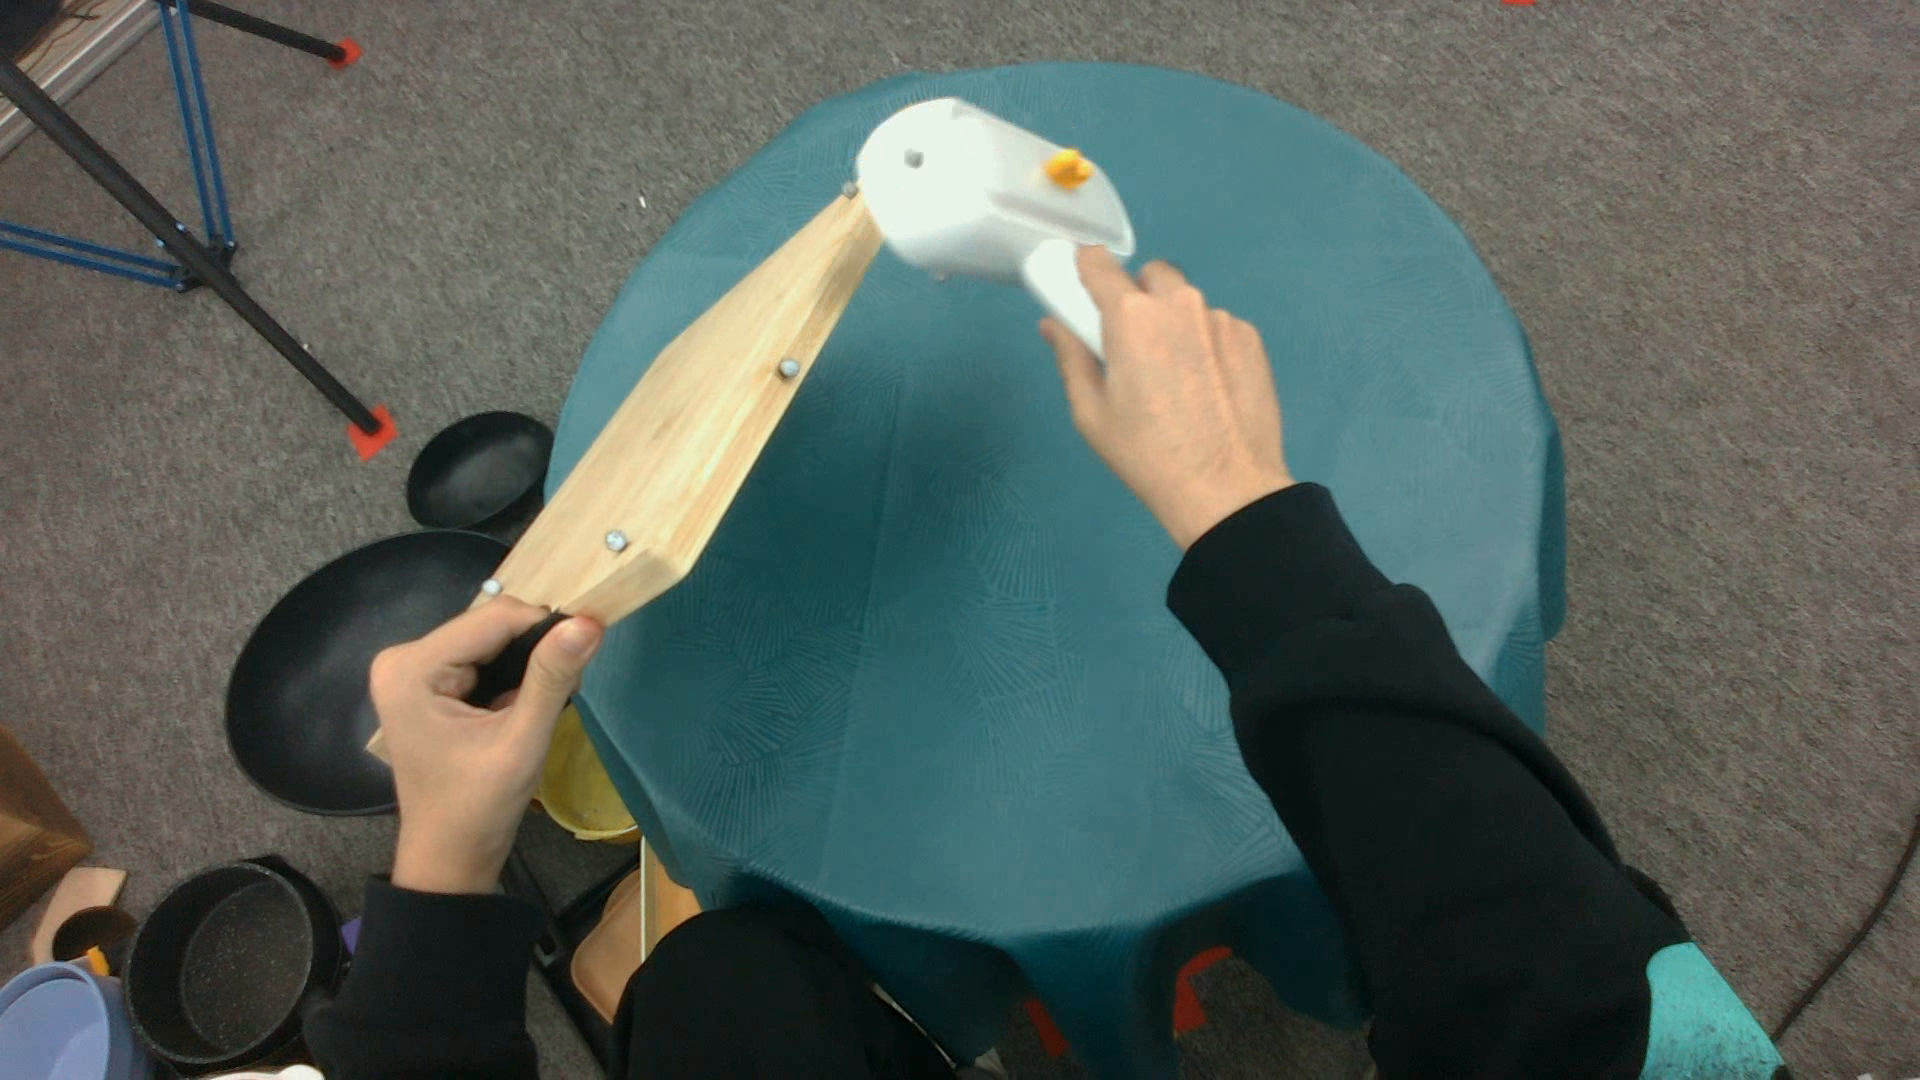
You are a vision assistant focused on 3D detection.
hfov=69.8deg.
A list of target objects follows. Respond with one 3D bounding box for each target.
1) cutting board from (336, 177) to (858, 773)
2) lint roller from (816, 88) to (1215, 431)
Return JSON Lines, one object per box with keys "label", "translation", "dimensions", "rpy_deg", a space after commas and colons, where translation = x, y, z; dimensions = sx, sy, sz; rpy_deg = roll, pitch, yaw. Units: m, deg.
{"label": "cutting board", "translation": [-0.156, -0.057, 0.689], "dimensions": [0.249, 0.023, 0.350], "rpy_deg": [-30, 27, 36]}
{"label": "lint roller", "translation": [0.041, -0.119, 0.637], "dimensions": [0.074, 0.193, 0.192], "rpy_deg": [-38, 80, 23]}
